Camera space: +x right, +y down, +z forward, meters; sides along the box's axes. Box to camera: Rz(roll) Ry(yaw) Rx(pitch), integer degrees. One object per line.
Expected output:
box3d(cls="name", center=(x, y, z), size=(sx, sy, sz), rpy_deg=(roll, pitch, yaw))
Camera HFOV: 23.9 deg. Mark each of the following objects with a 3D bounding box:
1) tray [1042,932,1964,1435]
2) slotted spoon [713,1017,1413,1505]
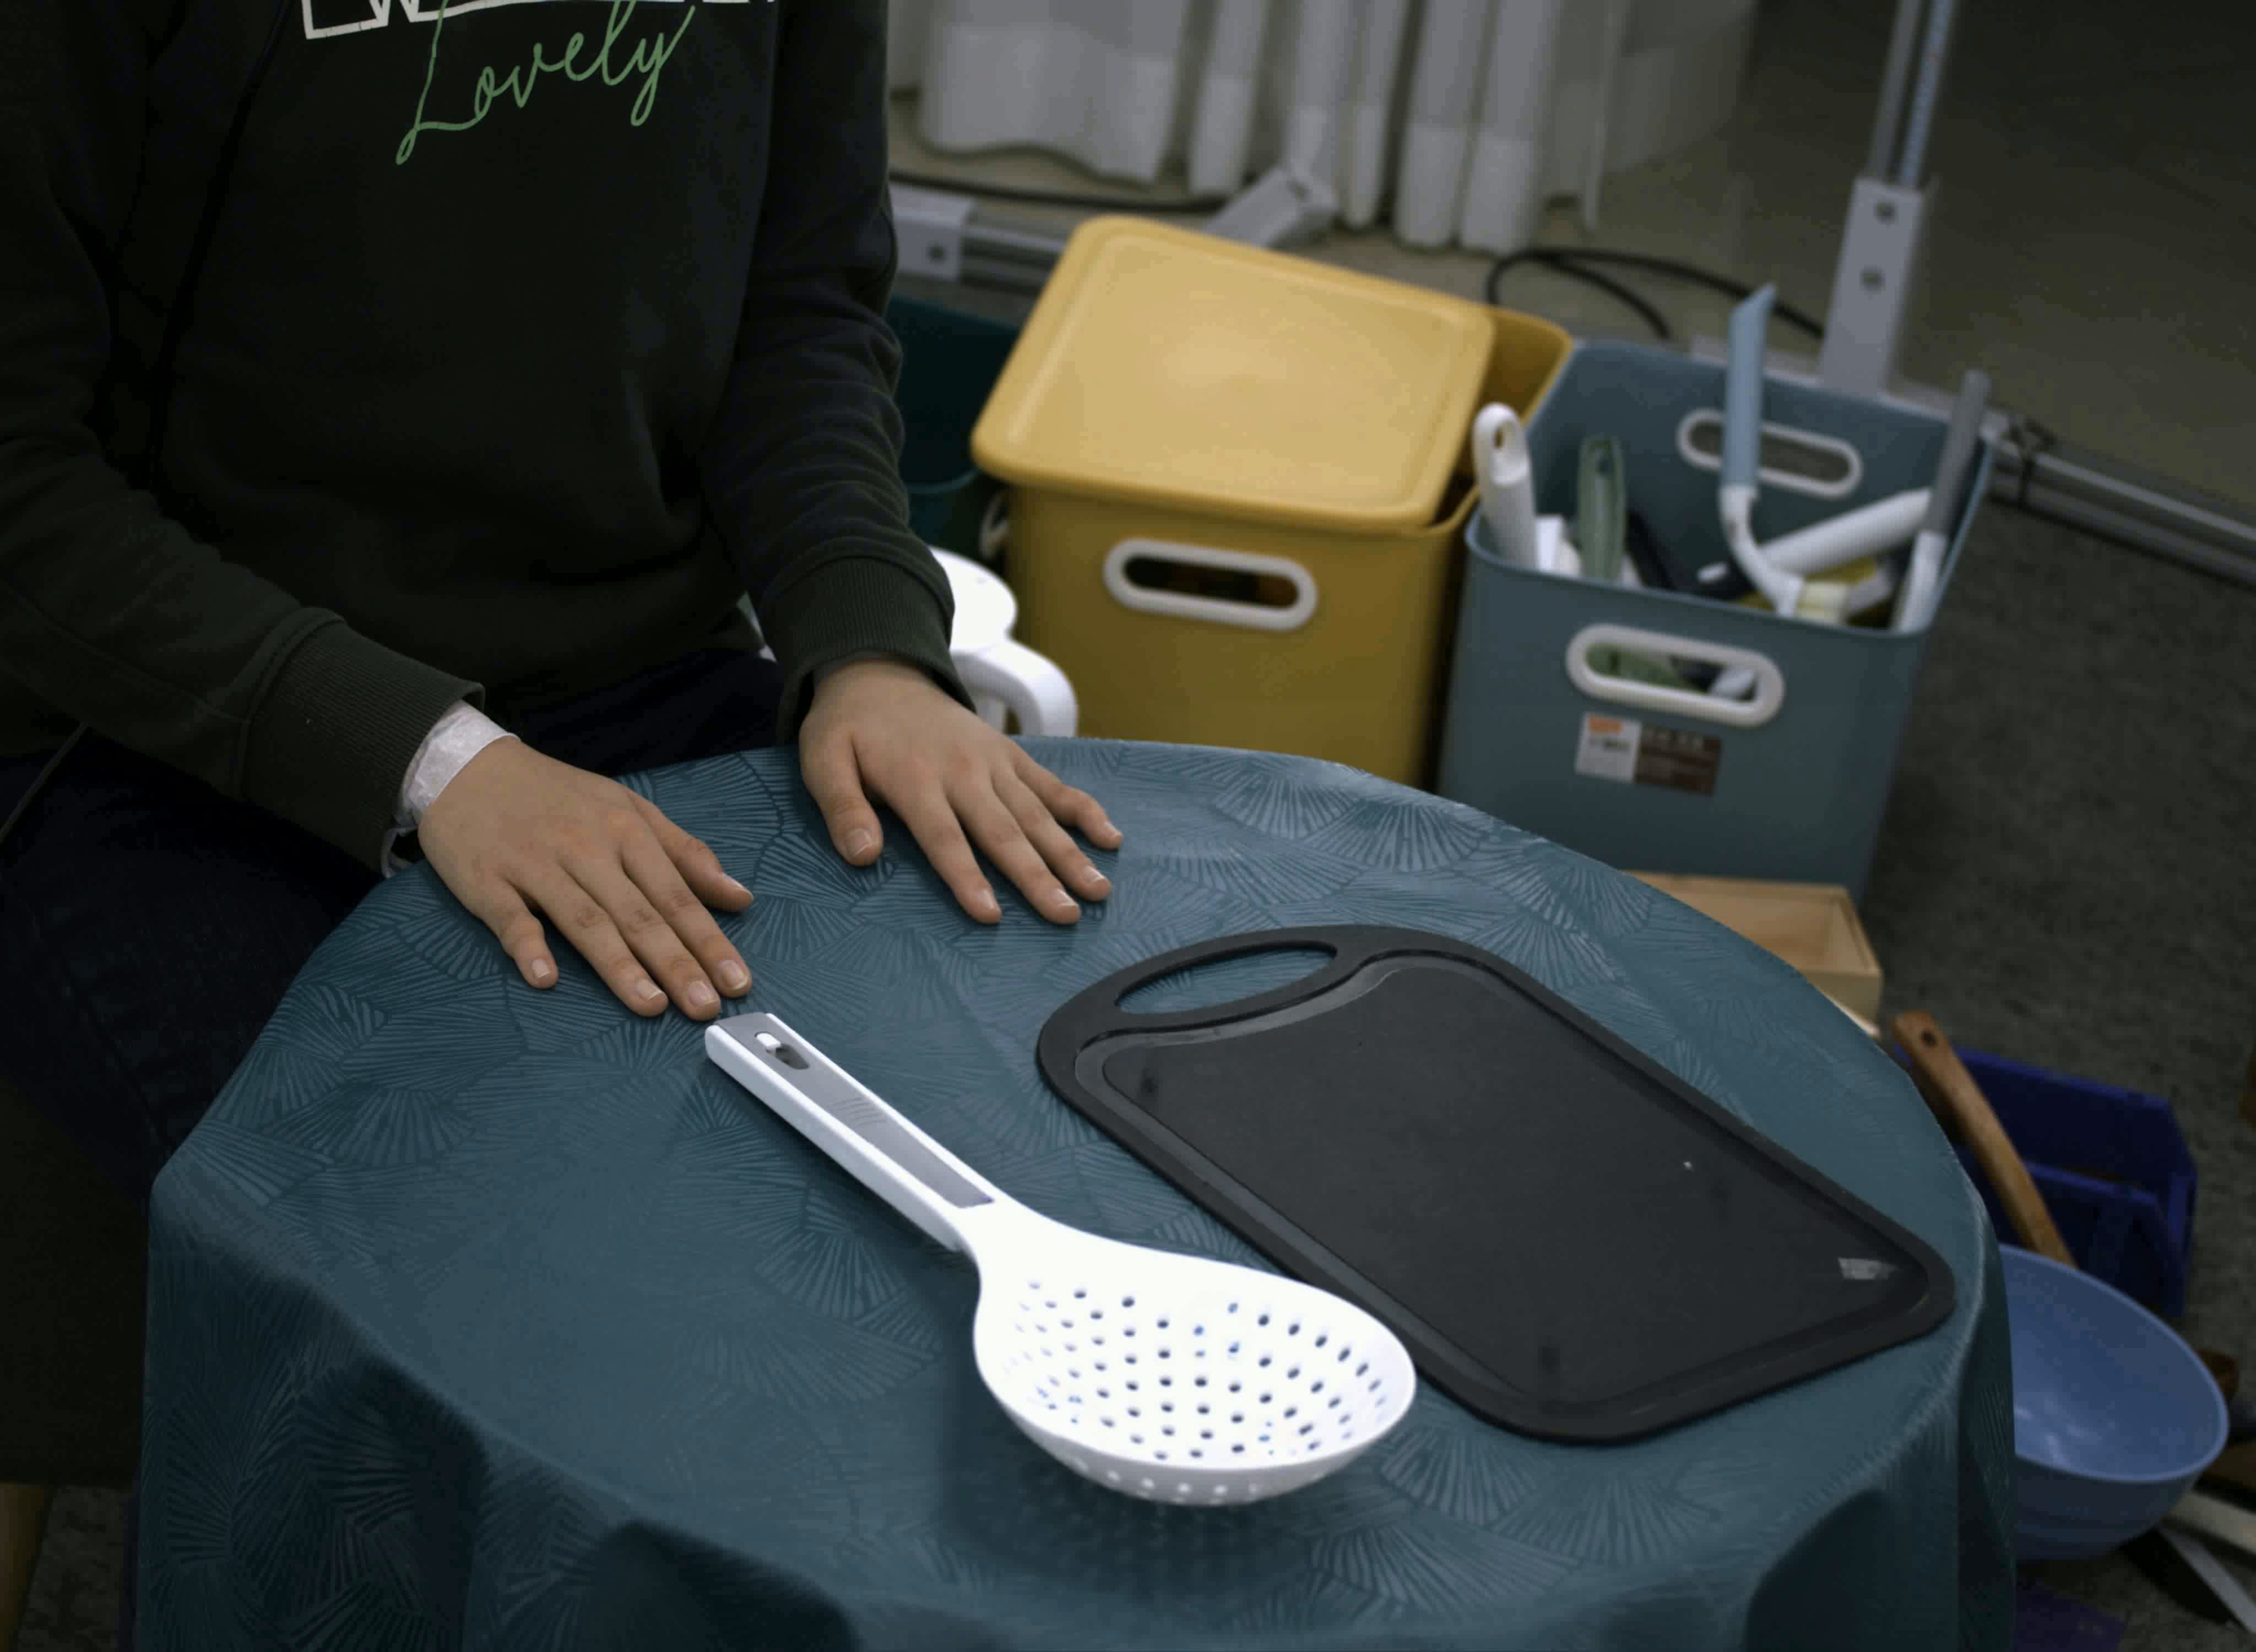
box3d(cls="tray", center=(0.120, 0.113, 1.840), size=(0.210, 0.010, 0.328), rpy_deg=(-13, 32, -35))
box3d(cls="slotted spoon", center=(-0.040, 0.134, 1.720), size=(0.135, 0.045, 0.353), rpy_deg=(-9, 29, -32))
